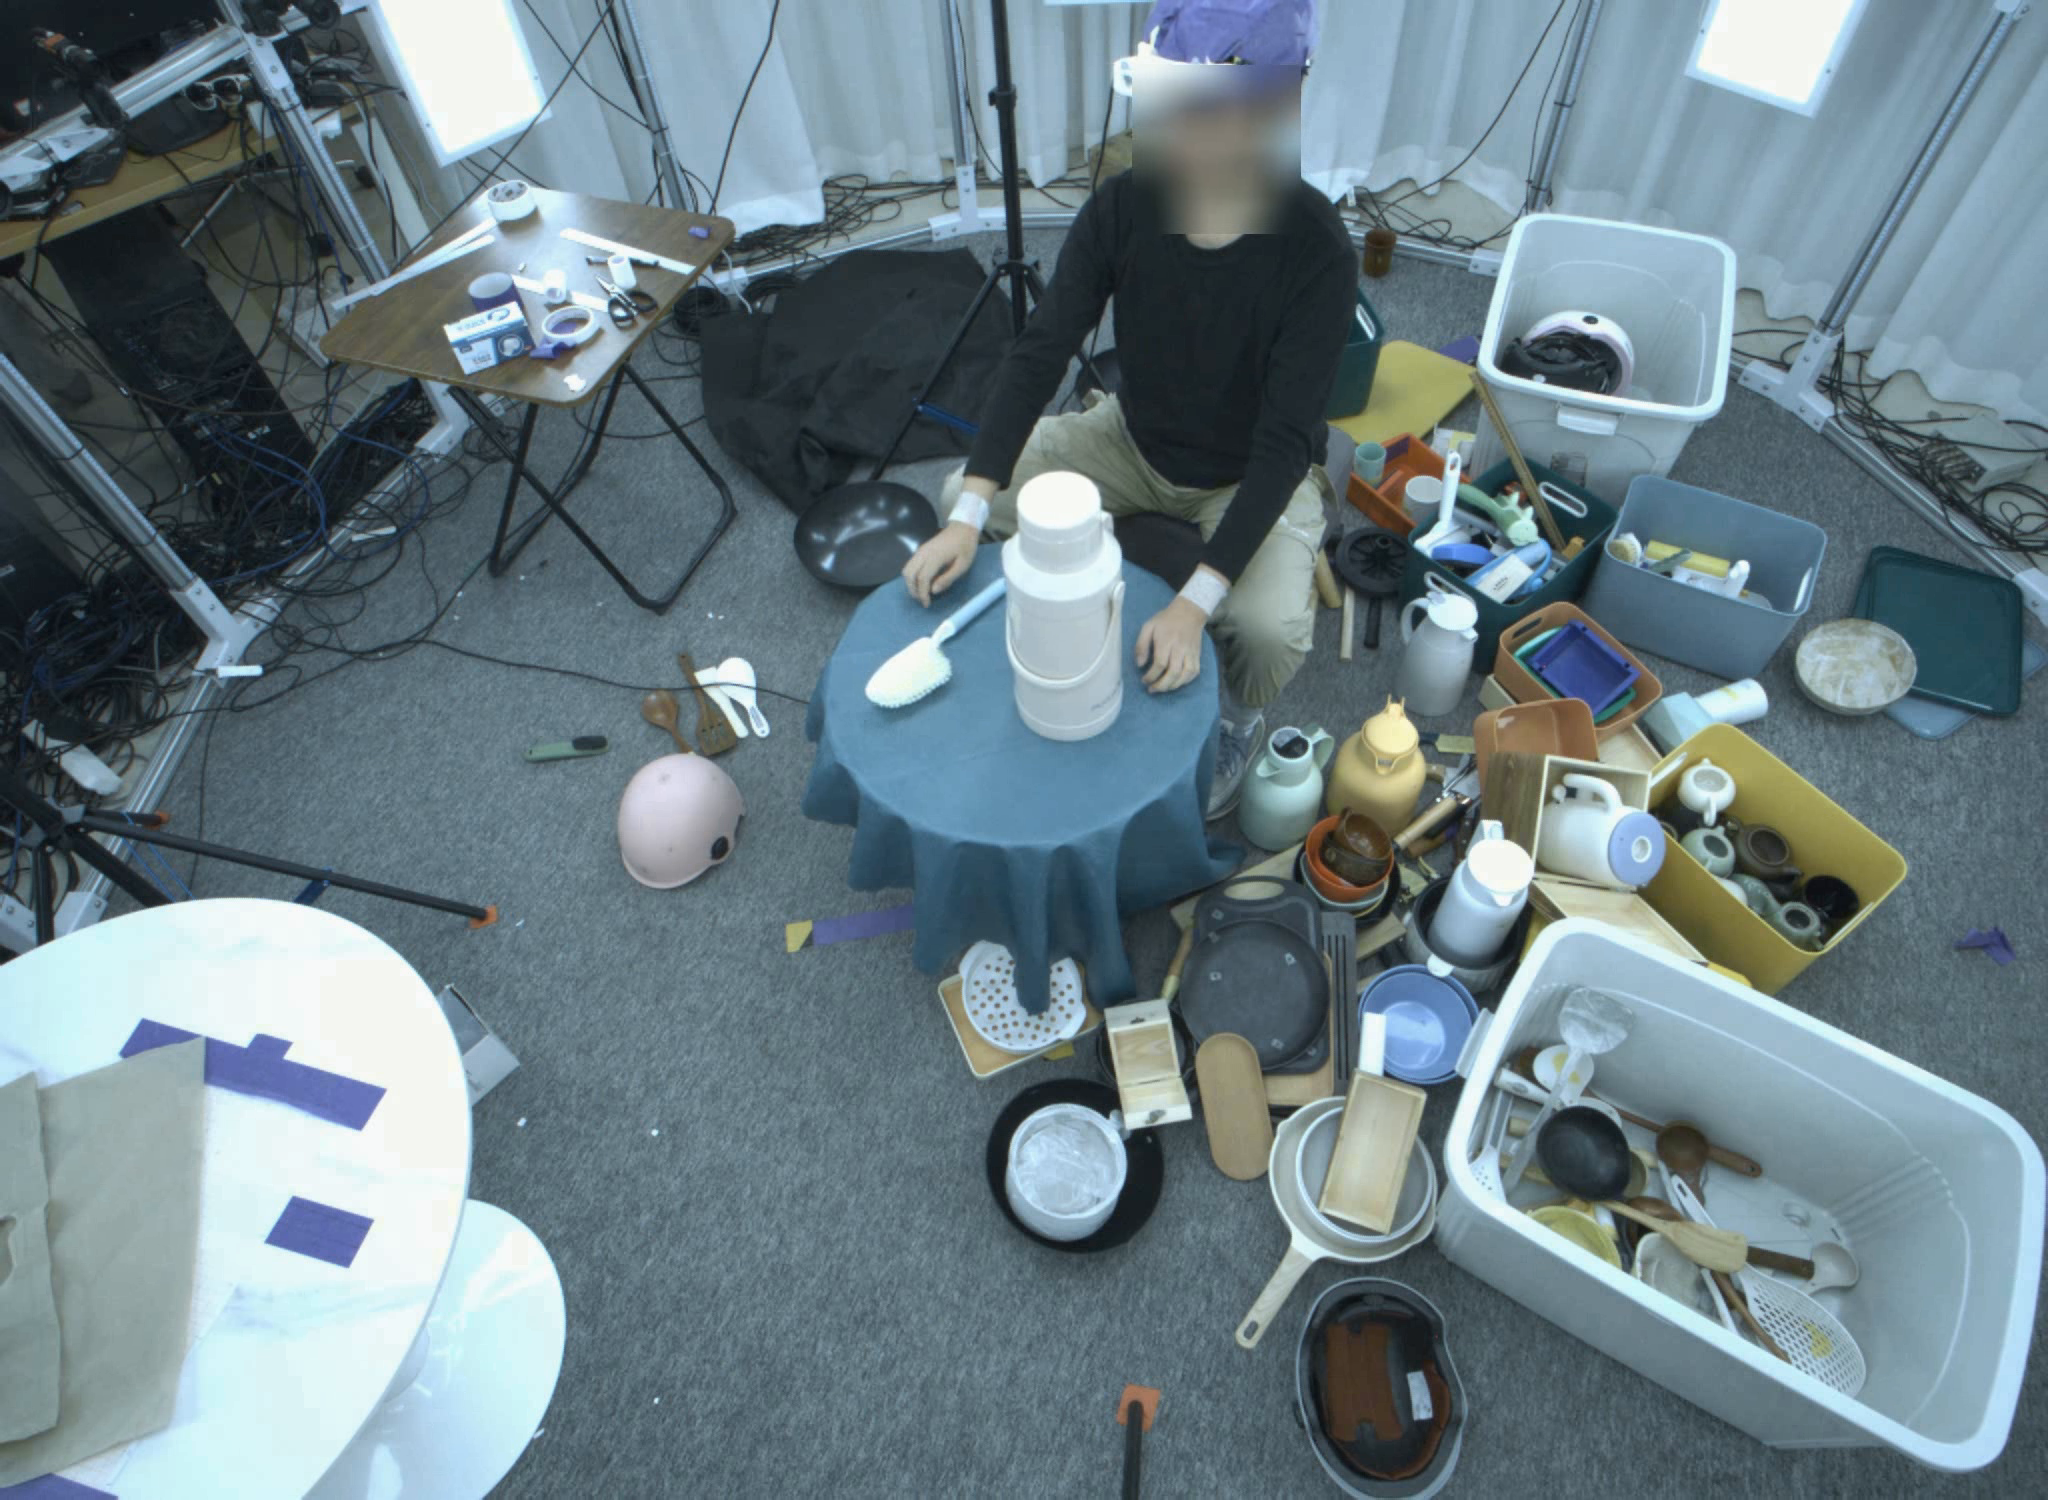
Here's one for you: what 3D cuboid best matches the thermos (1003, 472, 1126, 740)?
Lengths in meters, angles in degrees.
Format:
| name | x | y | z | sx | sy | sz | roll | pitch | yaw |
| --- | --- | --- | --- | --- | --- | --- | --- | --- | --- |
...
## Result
| name | x | y | z | sx | sy | sz | roll | pitch | yaw |
| --- | --- | --- | --- | --- | --- | --- | --- | --- | --- |
| thermos | 0.066 | -0.202 | 1.684 | 0.173 | 0.411 | 0.207 | 23 | 59 | 20 |

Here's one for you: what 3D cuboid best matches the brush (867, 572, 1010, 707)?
| name | x | y | z | sx | sy | sz | roll | pitch | yaw |
| --- | --- | --- | --- | --- | --- | --- | --- | --- | --- |
| brush | -0.107 | -0.176 | 1.872 | 0.084 | 0.083 | 0.327 | 41 | 63 | 13 |
